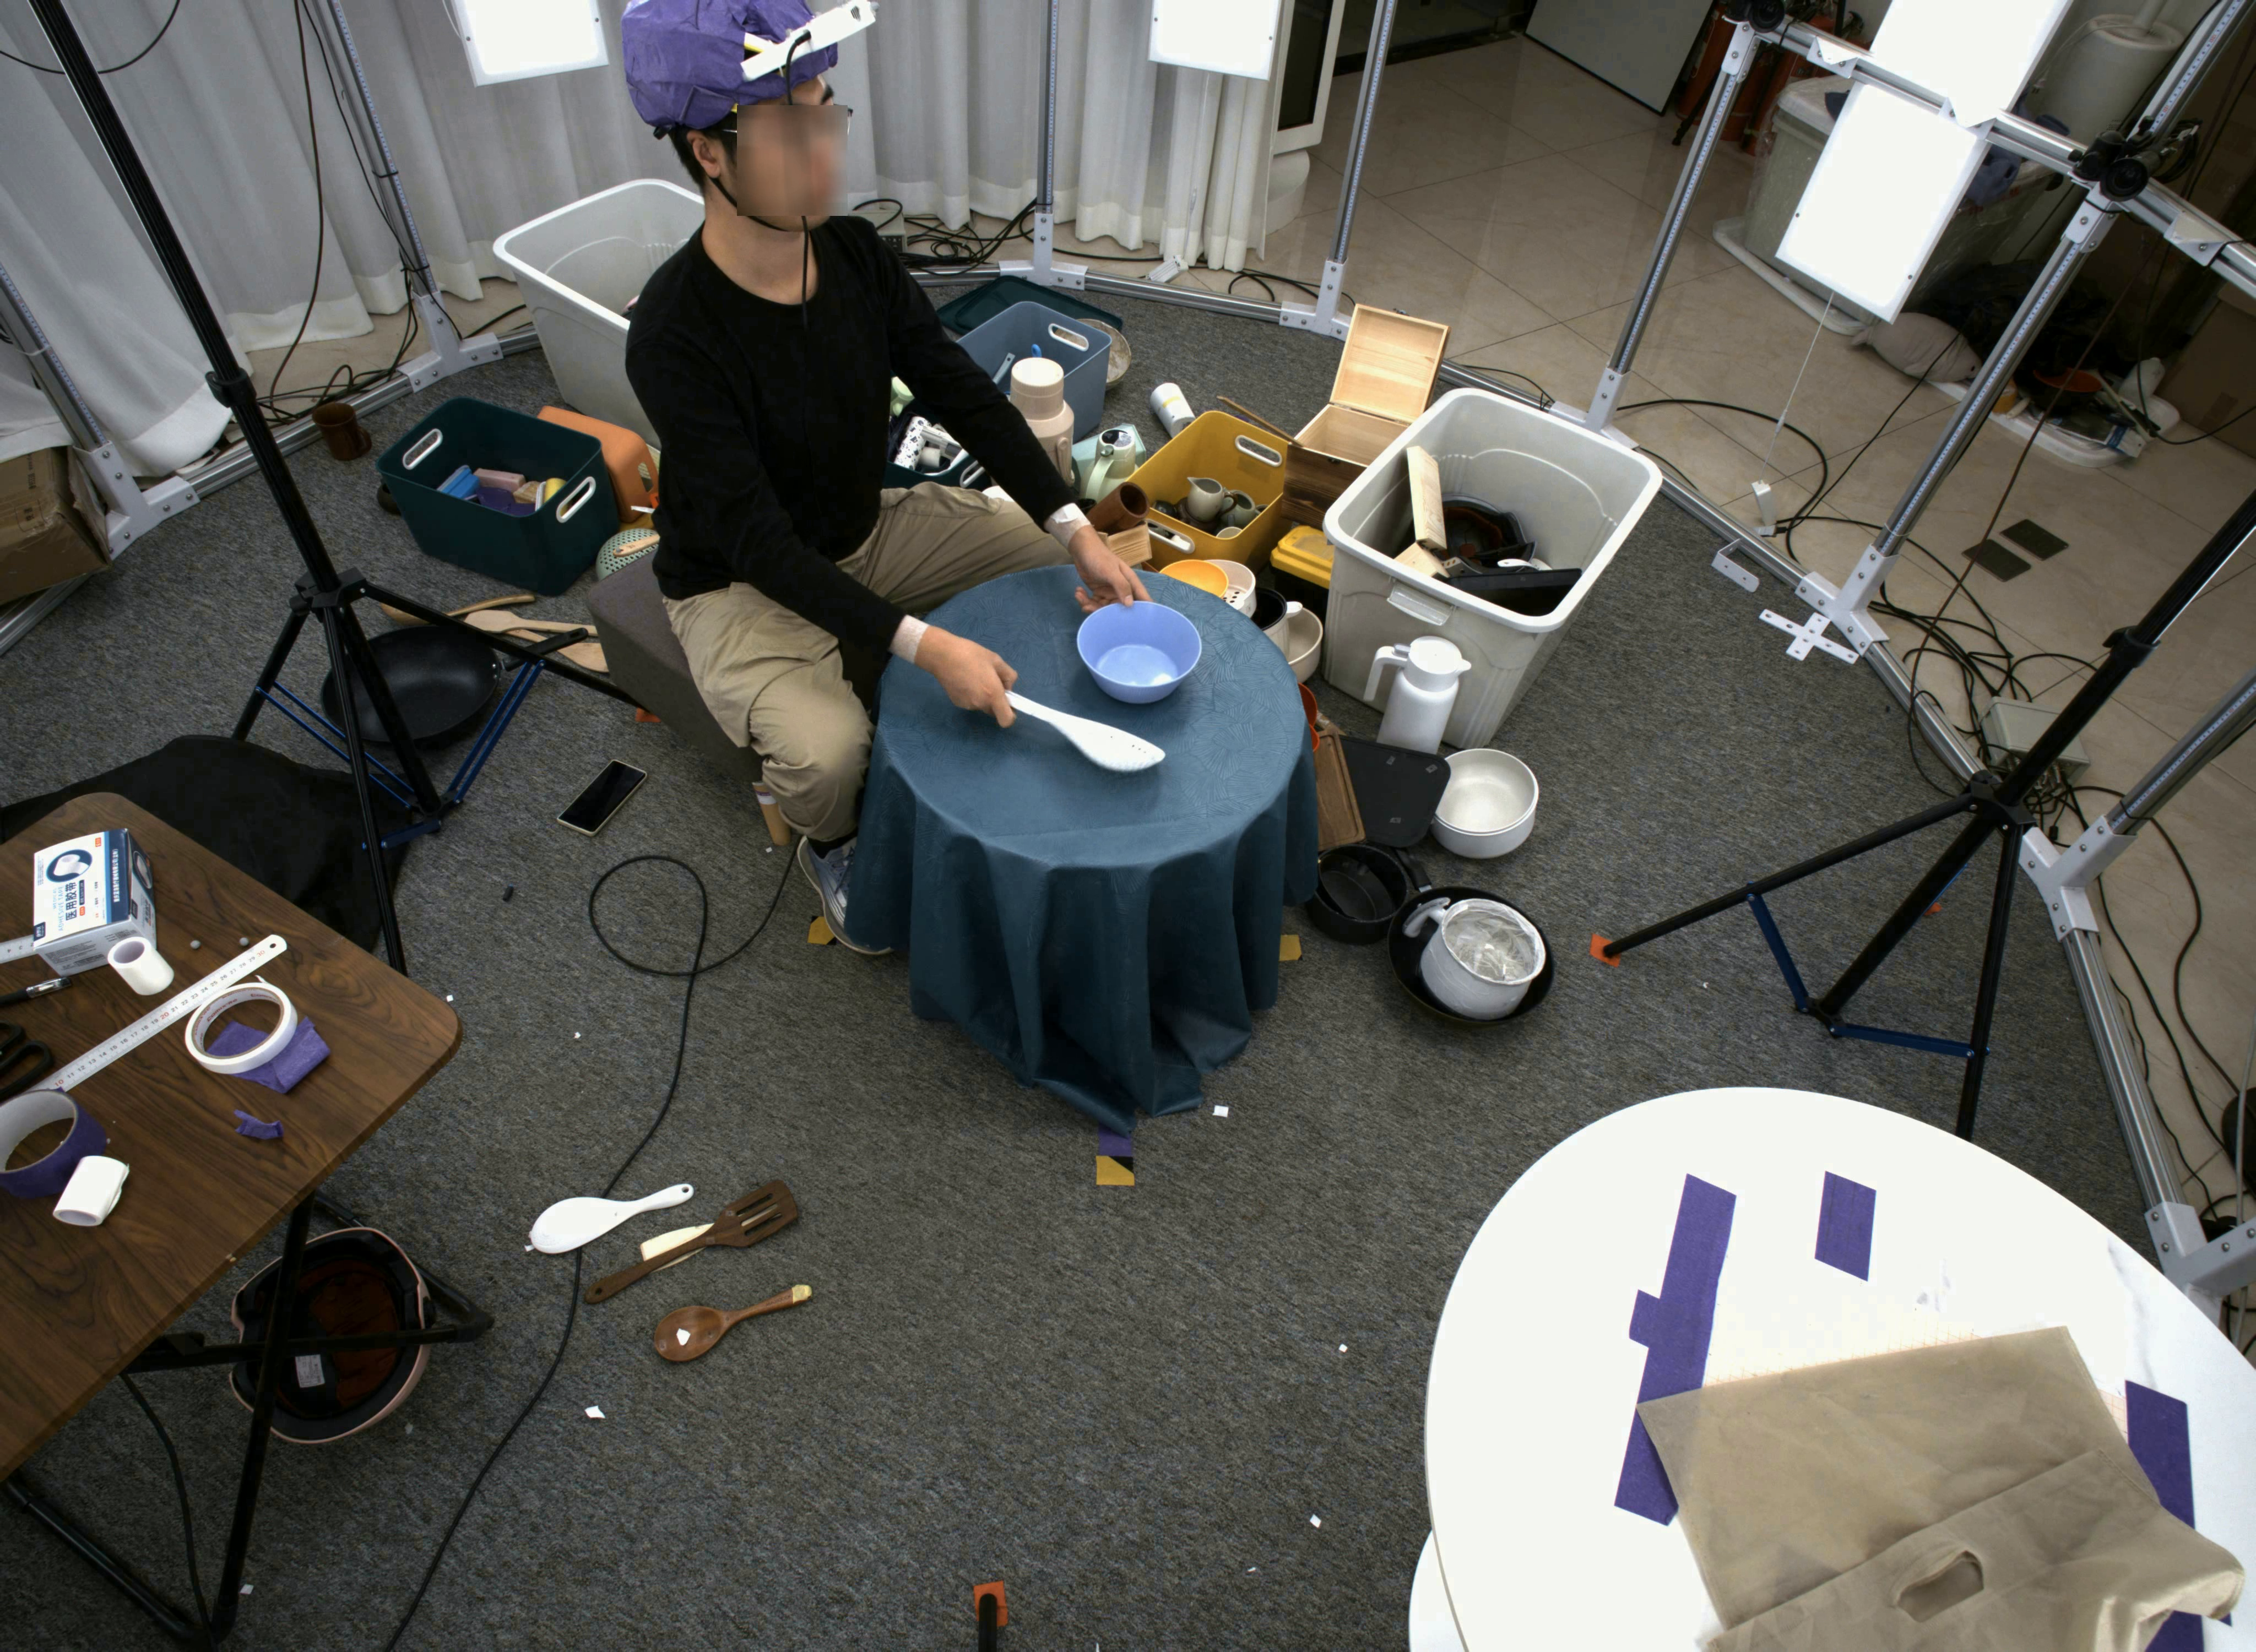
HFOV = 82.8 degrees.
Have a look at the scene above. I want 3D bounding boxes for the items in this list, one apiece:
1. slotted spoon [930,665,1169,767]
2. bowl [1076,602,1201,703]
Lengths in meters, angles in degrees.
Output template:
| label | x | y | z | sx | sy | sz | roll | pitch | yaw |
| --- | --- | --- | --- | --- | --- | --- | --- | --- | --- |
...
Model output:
| label | x | y | z | sx | sy | sz | roll | pitch | yaw |
| --- | --- | --- | --- | --- | --- | --- | --- | --- | --- |
| slotted spoon | -0.110 | -0.153 | 1.734 | 0.352 | 0.045 | 0.136 | 26 | 12 | 13 |
| bowl | 0.014 | -0.239 | 1.833 | 0.176 | 0.068 | 0.180 | 1 | 49 | -2 |
